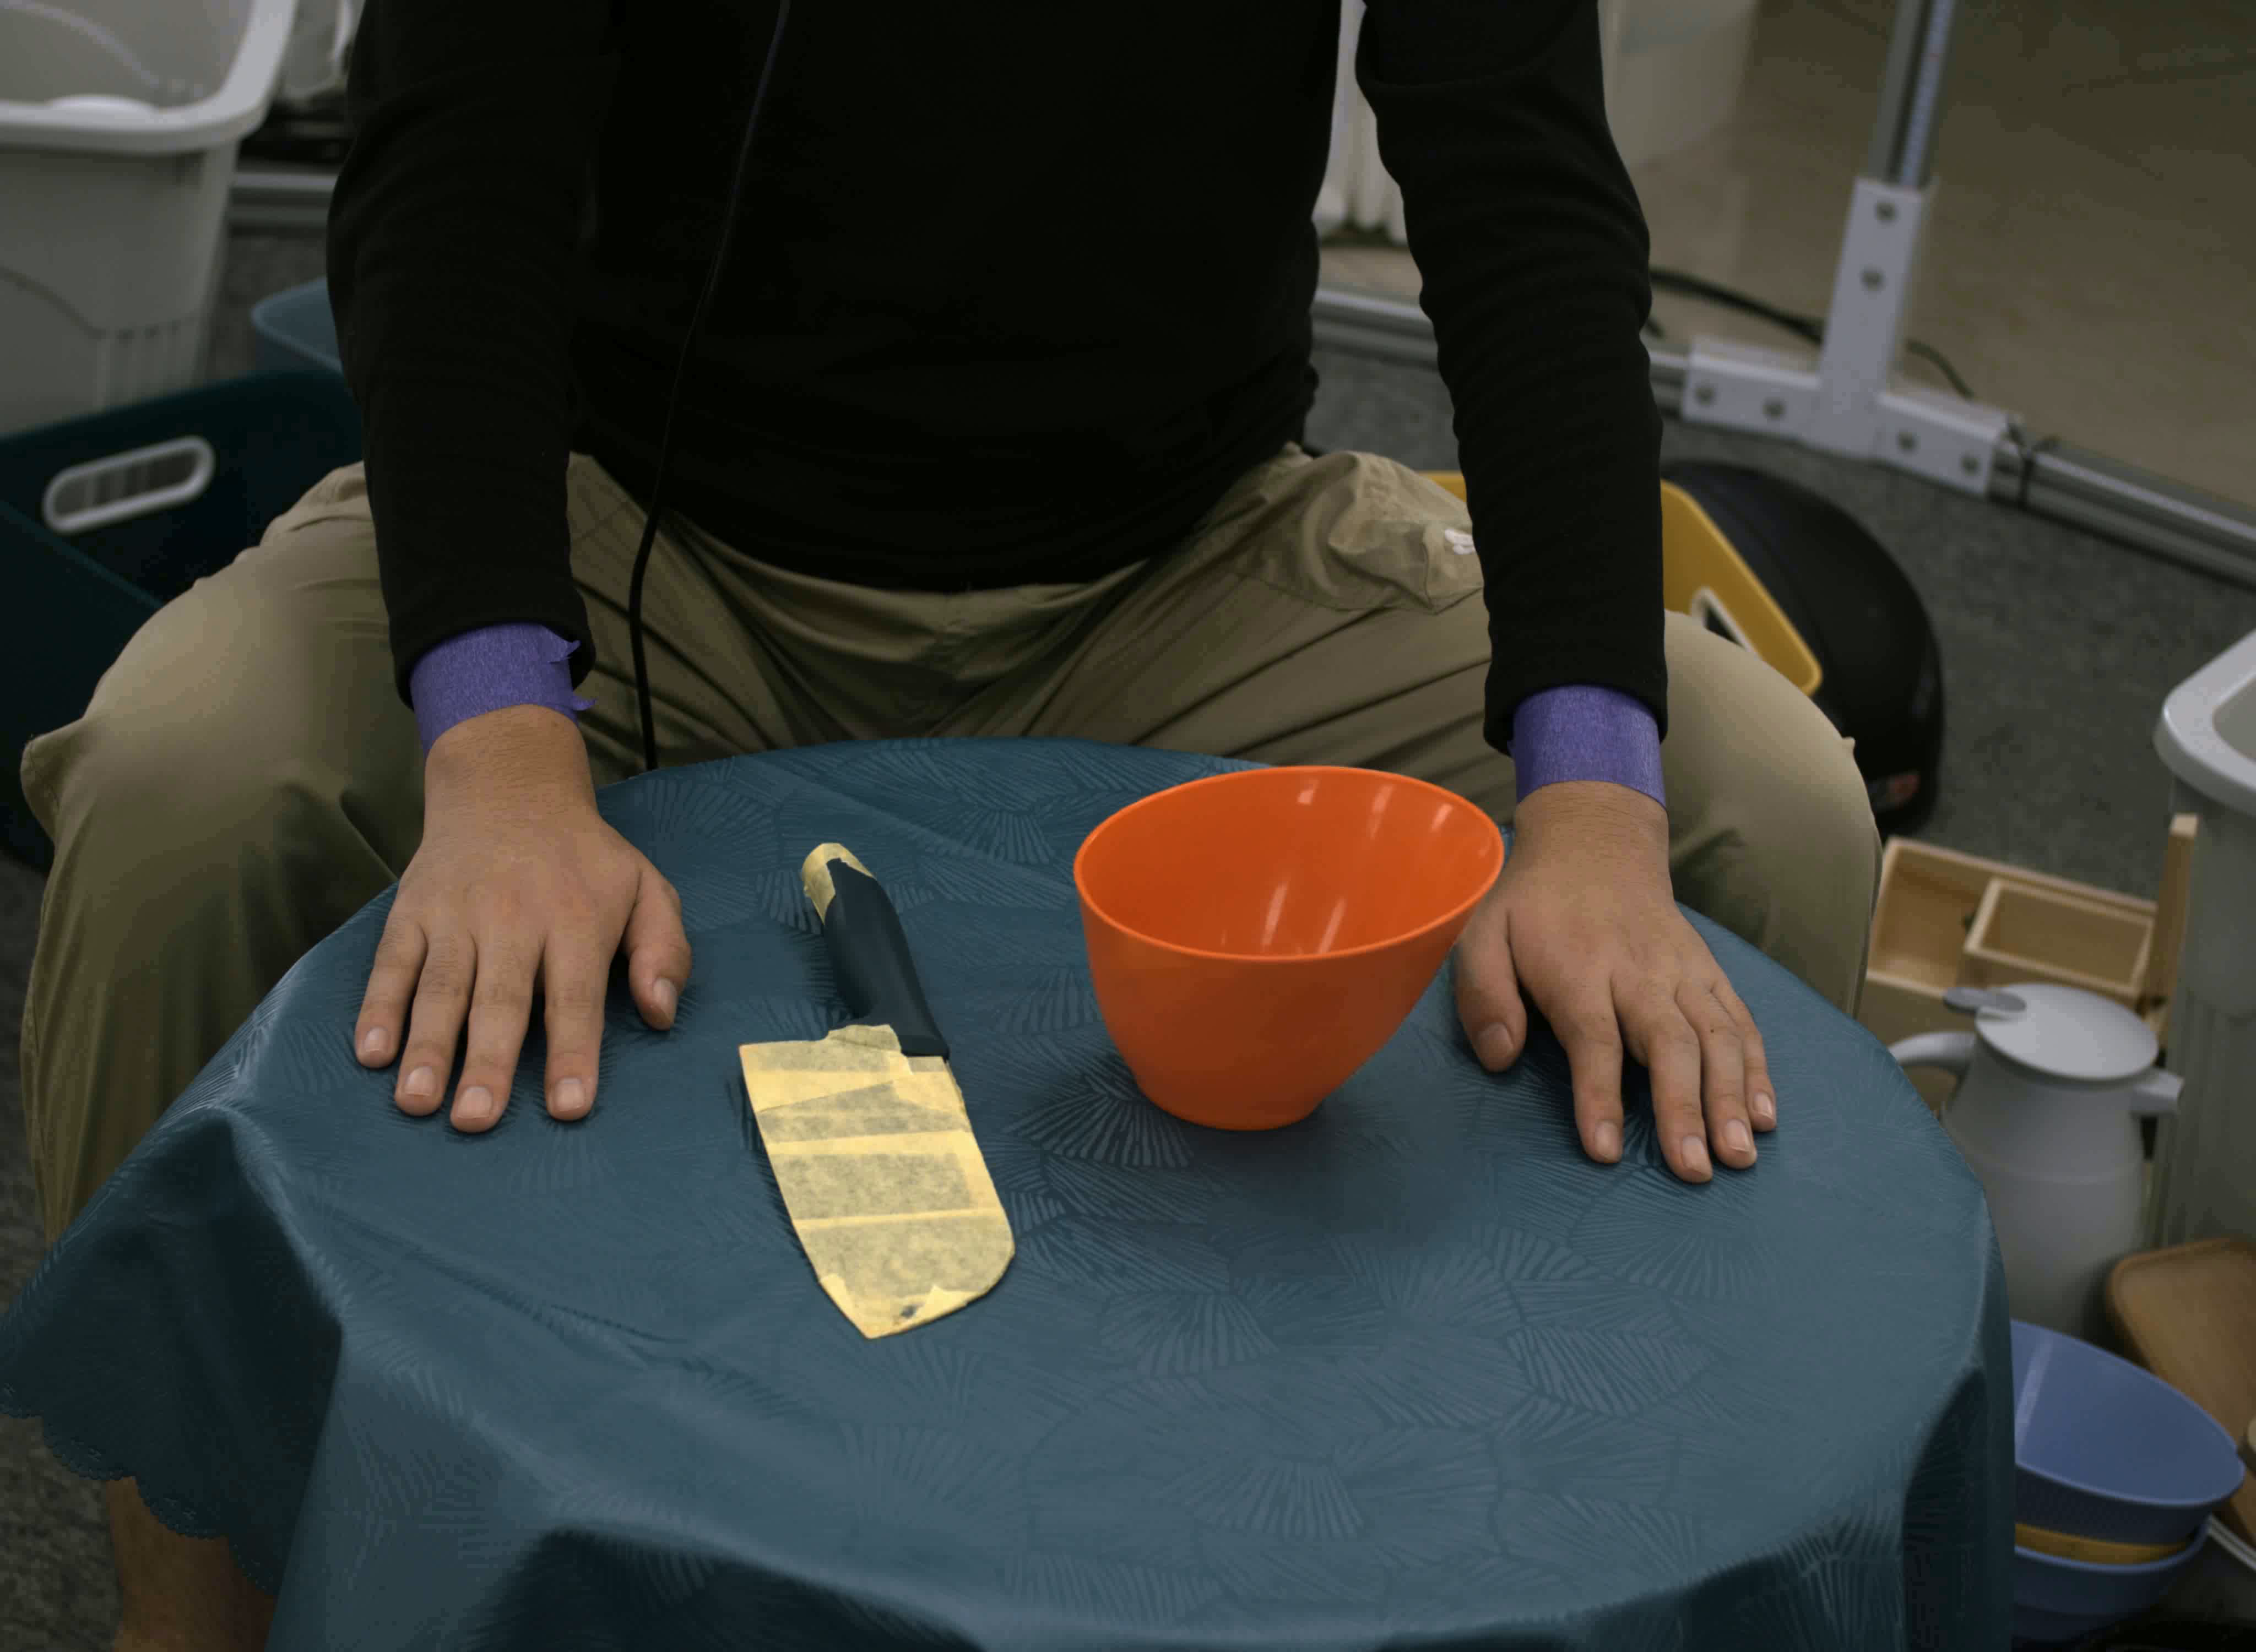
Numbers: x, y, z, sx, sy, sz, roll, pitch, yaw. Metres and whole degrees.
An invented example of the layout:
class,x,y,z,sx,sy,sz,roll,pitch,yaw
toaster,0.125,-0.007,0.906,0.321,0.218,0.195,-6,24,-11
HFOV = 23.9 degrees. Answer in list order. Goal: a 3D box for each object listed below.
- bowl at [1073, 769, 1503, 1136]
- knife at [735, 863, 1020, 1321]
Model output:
class,x,y,z,sx,sy,sz,roll,pitch,yaw
bowl,0.051,0.049,1.853,0.147,0.104,0.149,4,27,-3
knife,-0.094,0.090,1.836,0.080,0.027,0.292,1,28,-13
